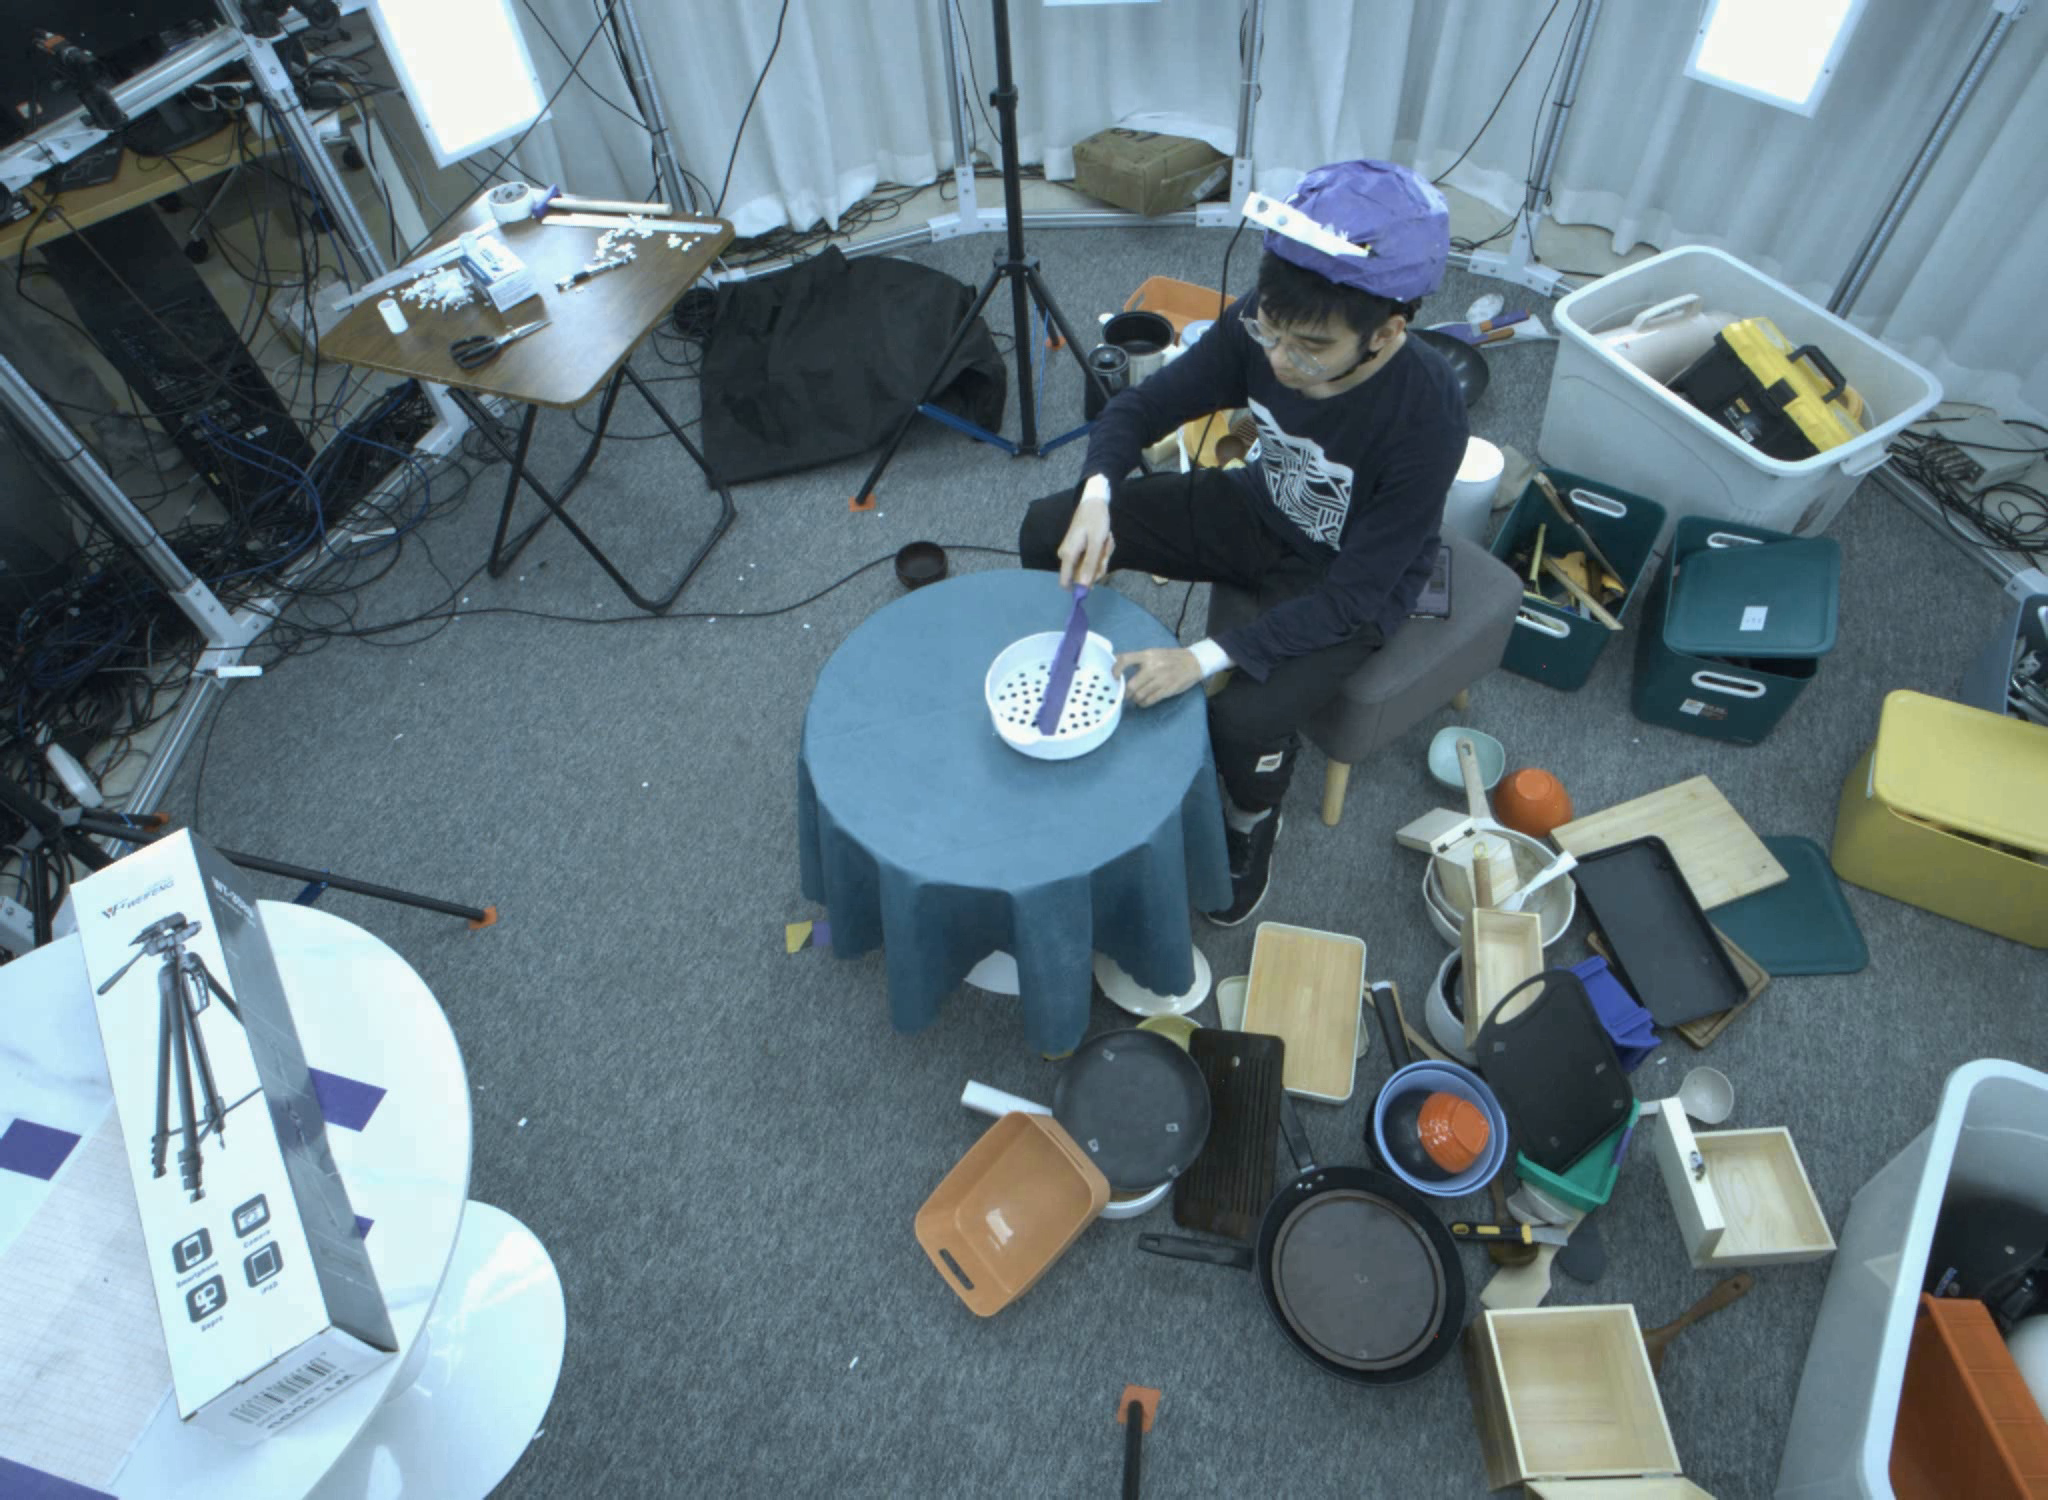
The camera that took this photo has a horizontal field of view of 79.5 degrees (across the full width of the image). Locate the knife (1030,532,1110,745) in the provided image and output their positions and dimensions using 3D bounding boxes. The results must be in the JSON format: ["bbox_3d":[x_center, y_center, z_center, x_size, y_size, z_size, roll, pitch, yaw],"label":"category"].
[{"bbox_3d":[0.067,-0.160,1.774,0.032,0.105,0.314,15,72,18],"label":"knife"}]

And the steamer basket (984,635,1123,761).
[{"bbox_3d":[0.043,-0.074,1.807,0.199,0.070,0.232,29,57,19],"label":"steamer basket"}]
